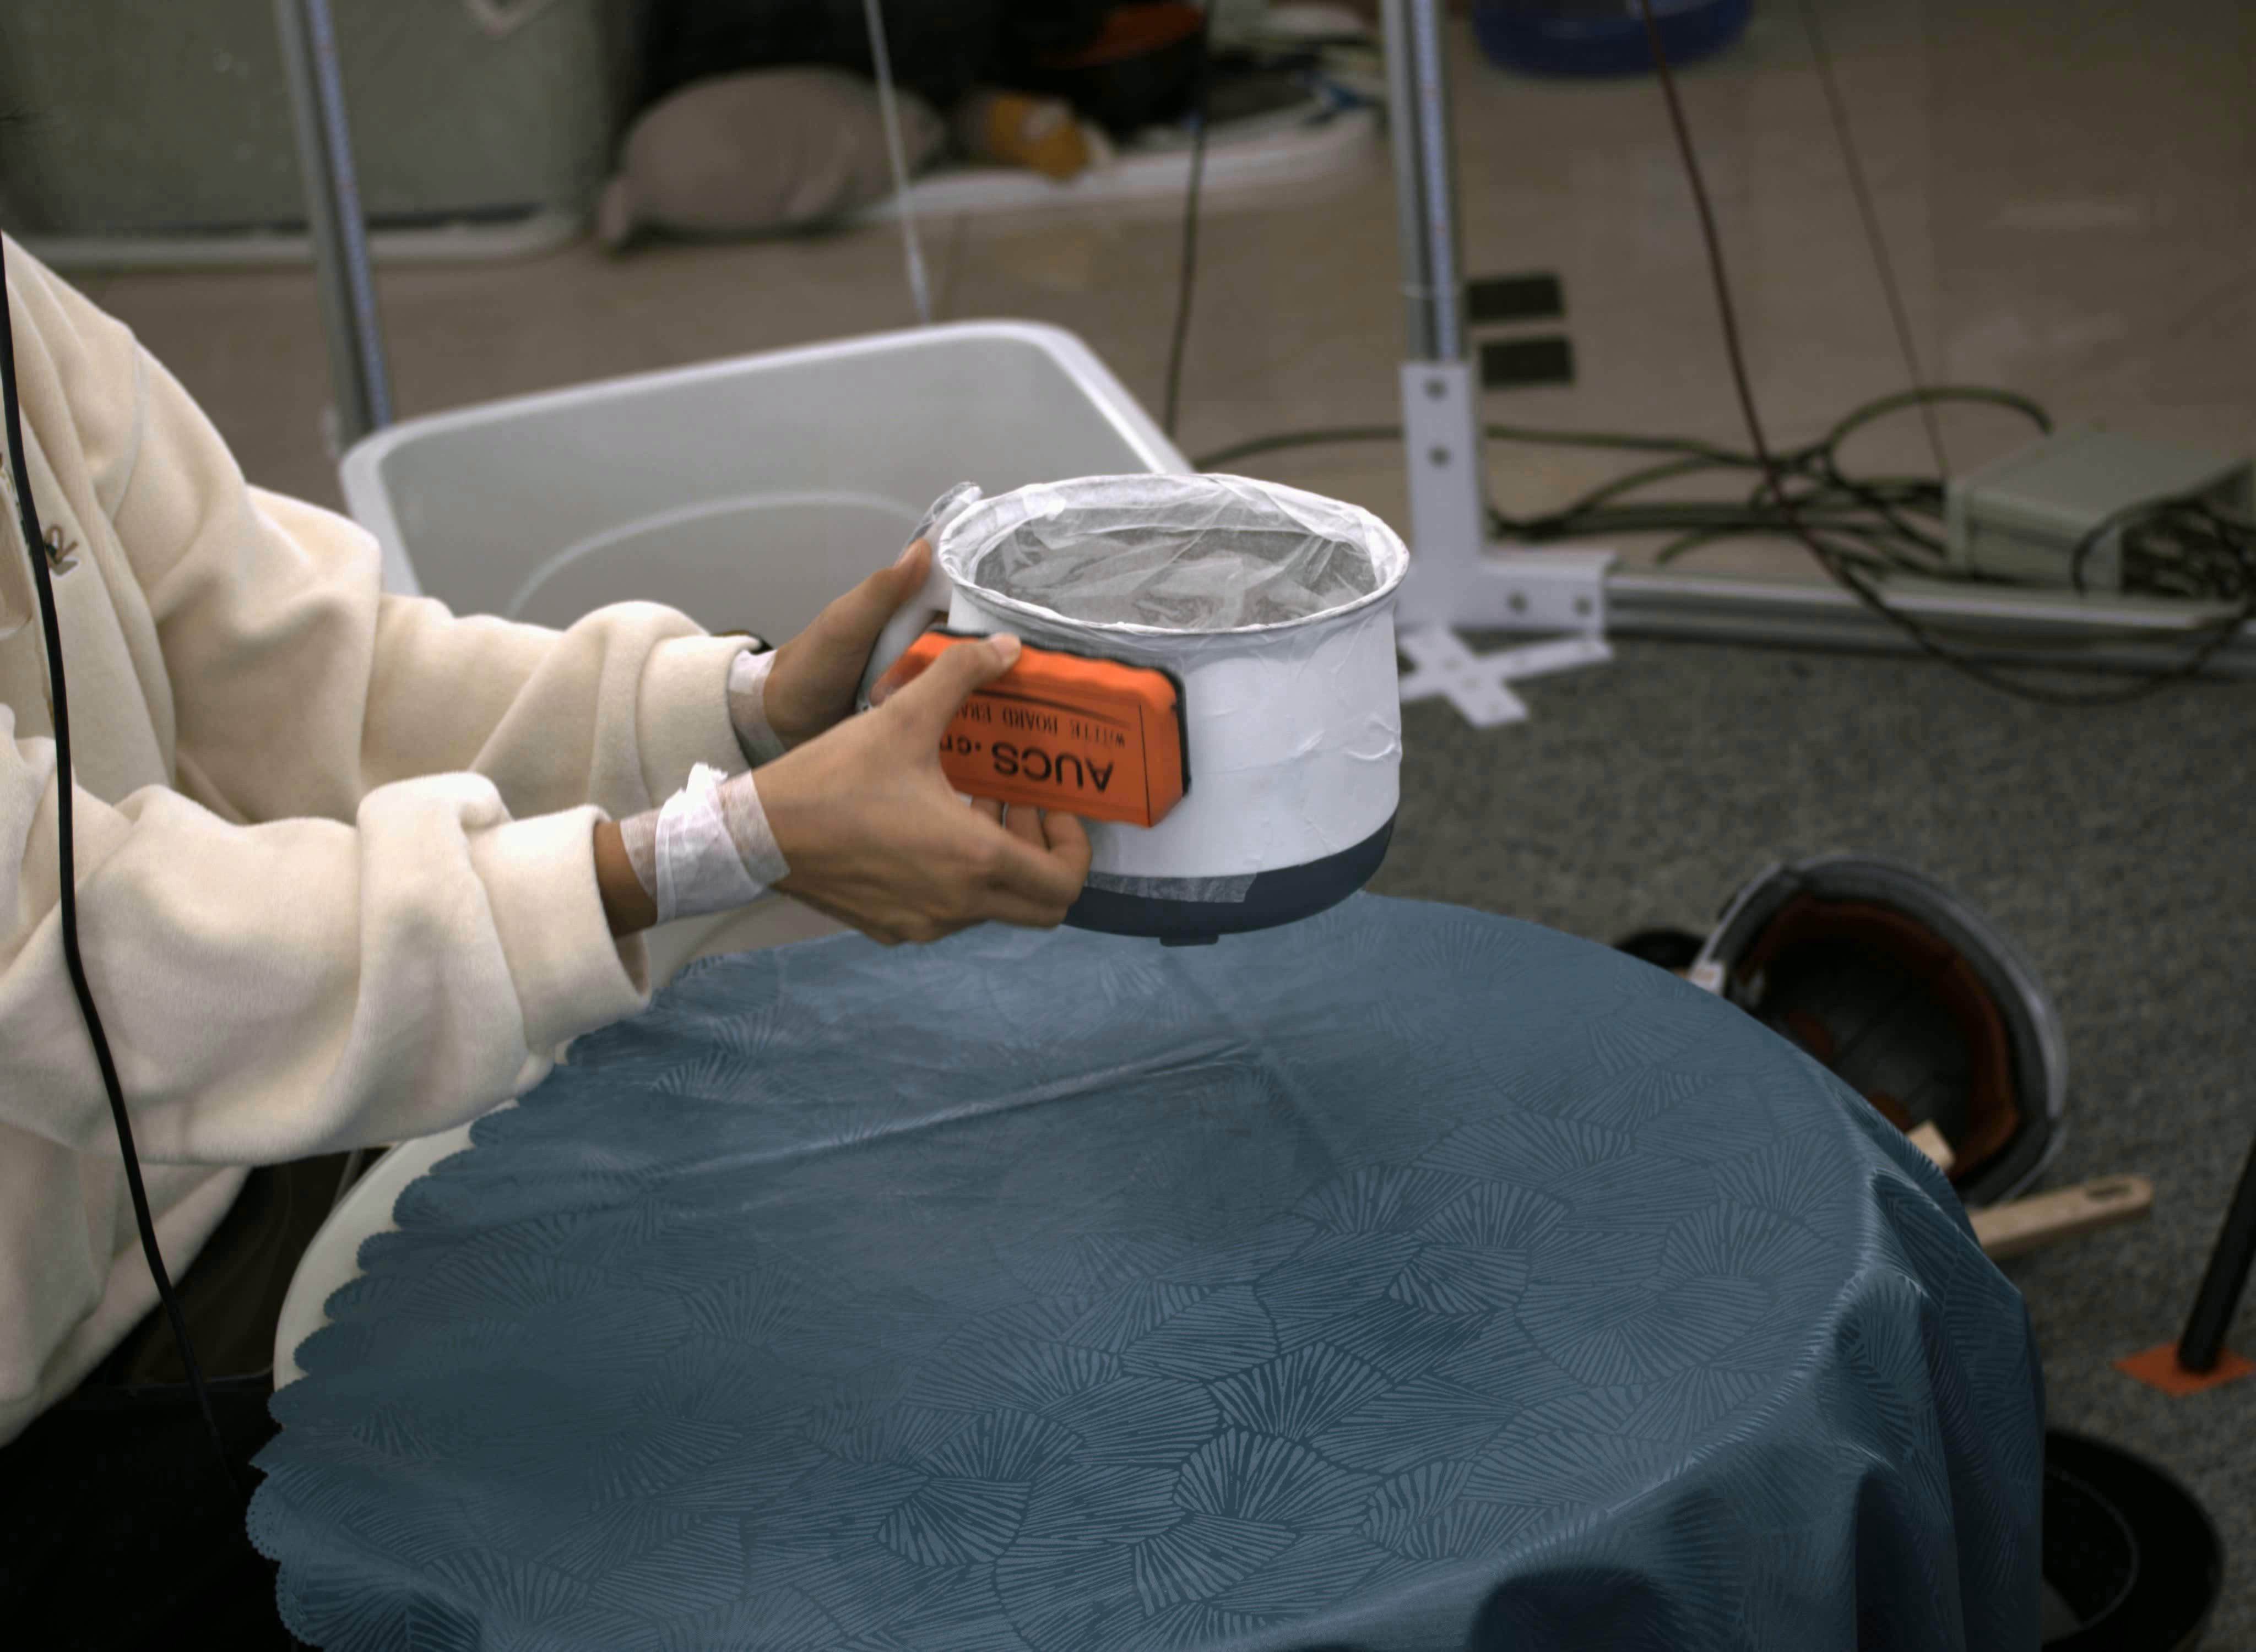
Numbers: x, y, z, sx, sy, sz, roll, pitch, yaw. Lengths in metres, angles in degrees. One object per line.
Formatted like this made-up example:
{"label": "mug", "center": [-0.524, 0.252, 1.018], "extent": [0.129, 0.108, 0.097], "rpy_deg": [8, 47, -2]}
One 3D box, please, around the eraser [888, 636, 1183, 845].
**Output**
{"label": "eraser", "center": [-0.033, -0.031, 2.032], "extent": [0.107, 0.060, 0.022], "rpy_deg": [12, 37, 23]}

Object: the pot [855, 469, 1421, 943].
{"label": "pot", "center": [-0.006, -0.053, 2.145], "extent": [0.232, 0.138, 0.177], "rpy_deg": [18, 26, 31]}
